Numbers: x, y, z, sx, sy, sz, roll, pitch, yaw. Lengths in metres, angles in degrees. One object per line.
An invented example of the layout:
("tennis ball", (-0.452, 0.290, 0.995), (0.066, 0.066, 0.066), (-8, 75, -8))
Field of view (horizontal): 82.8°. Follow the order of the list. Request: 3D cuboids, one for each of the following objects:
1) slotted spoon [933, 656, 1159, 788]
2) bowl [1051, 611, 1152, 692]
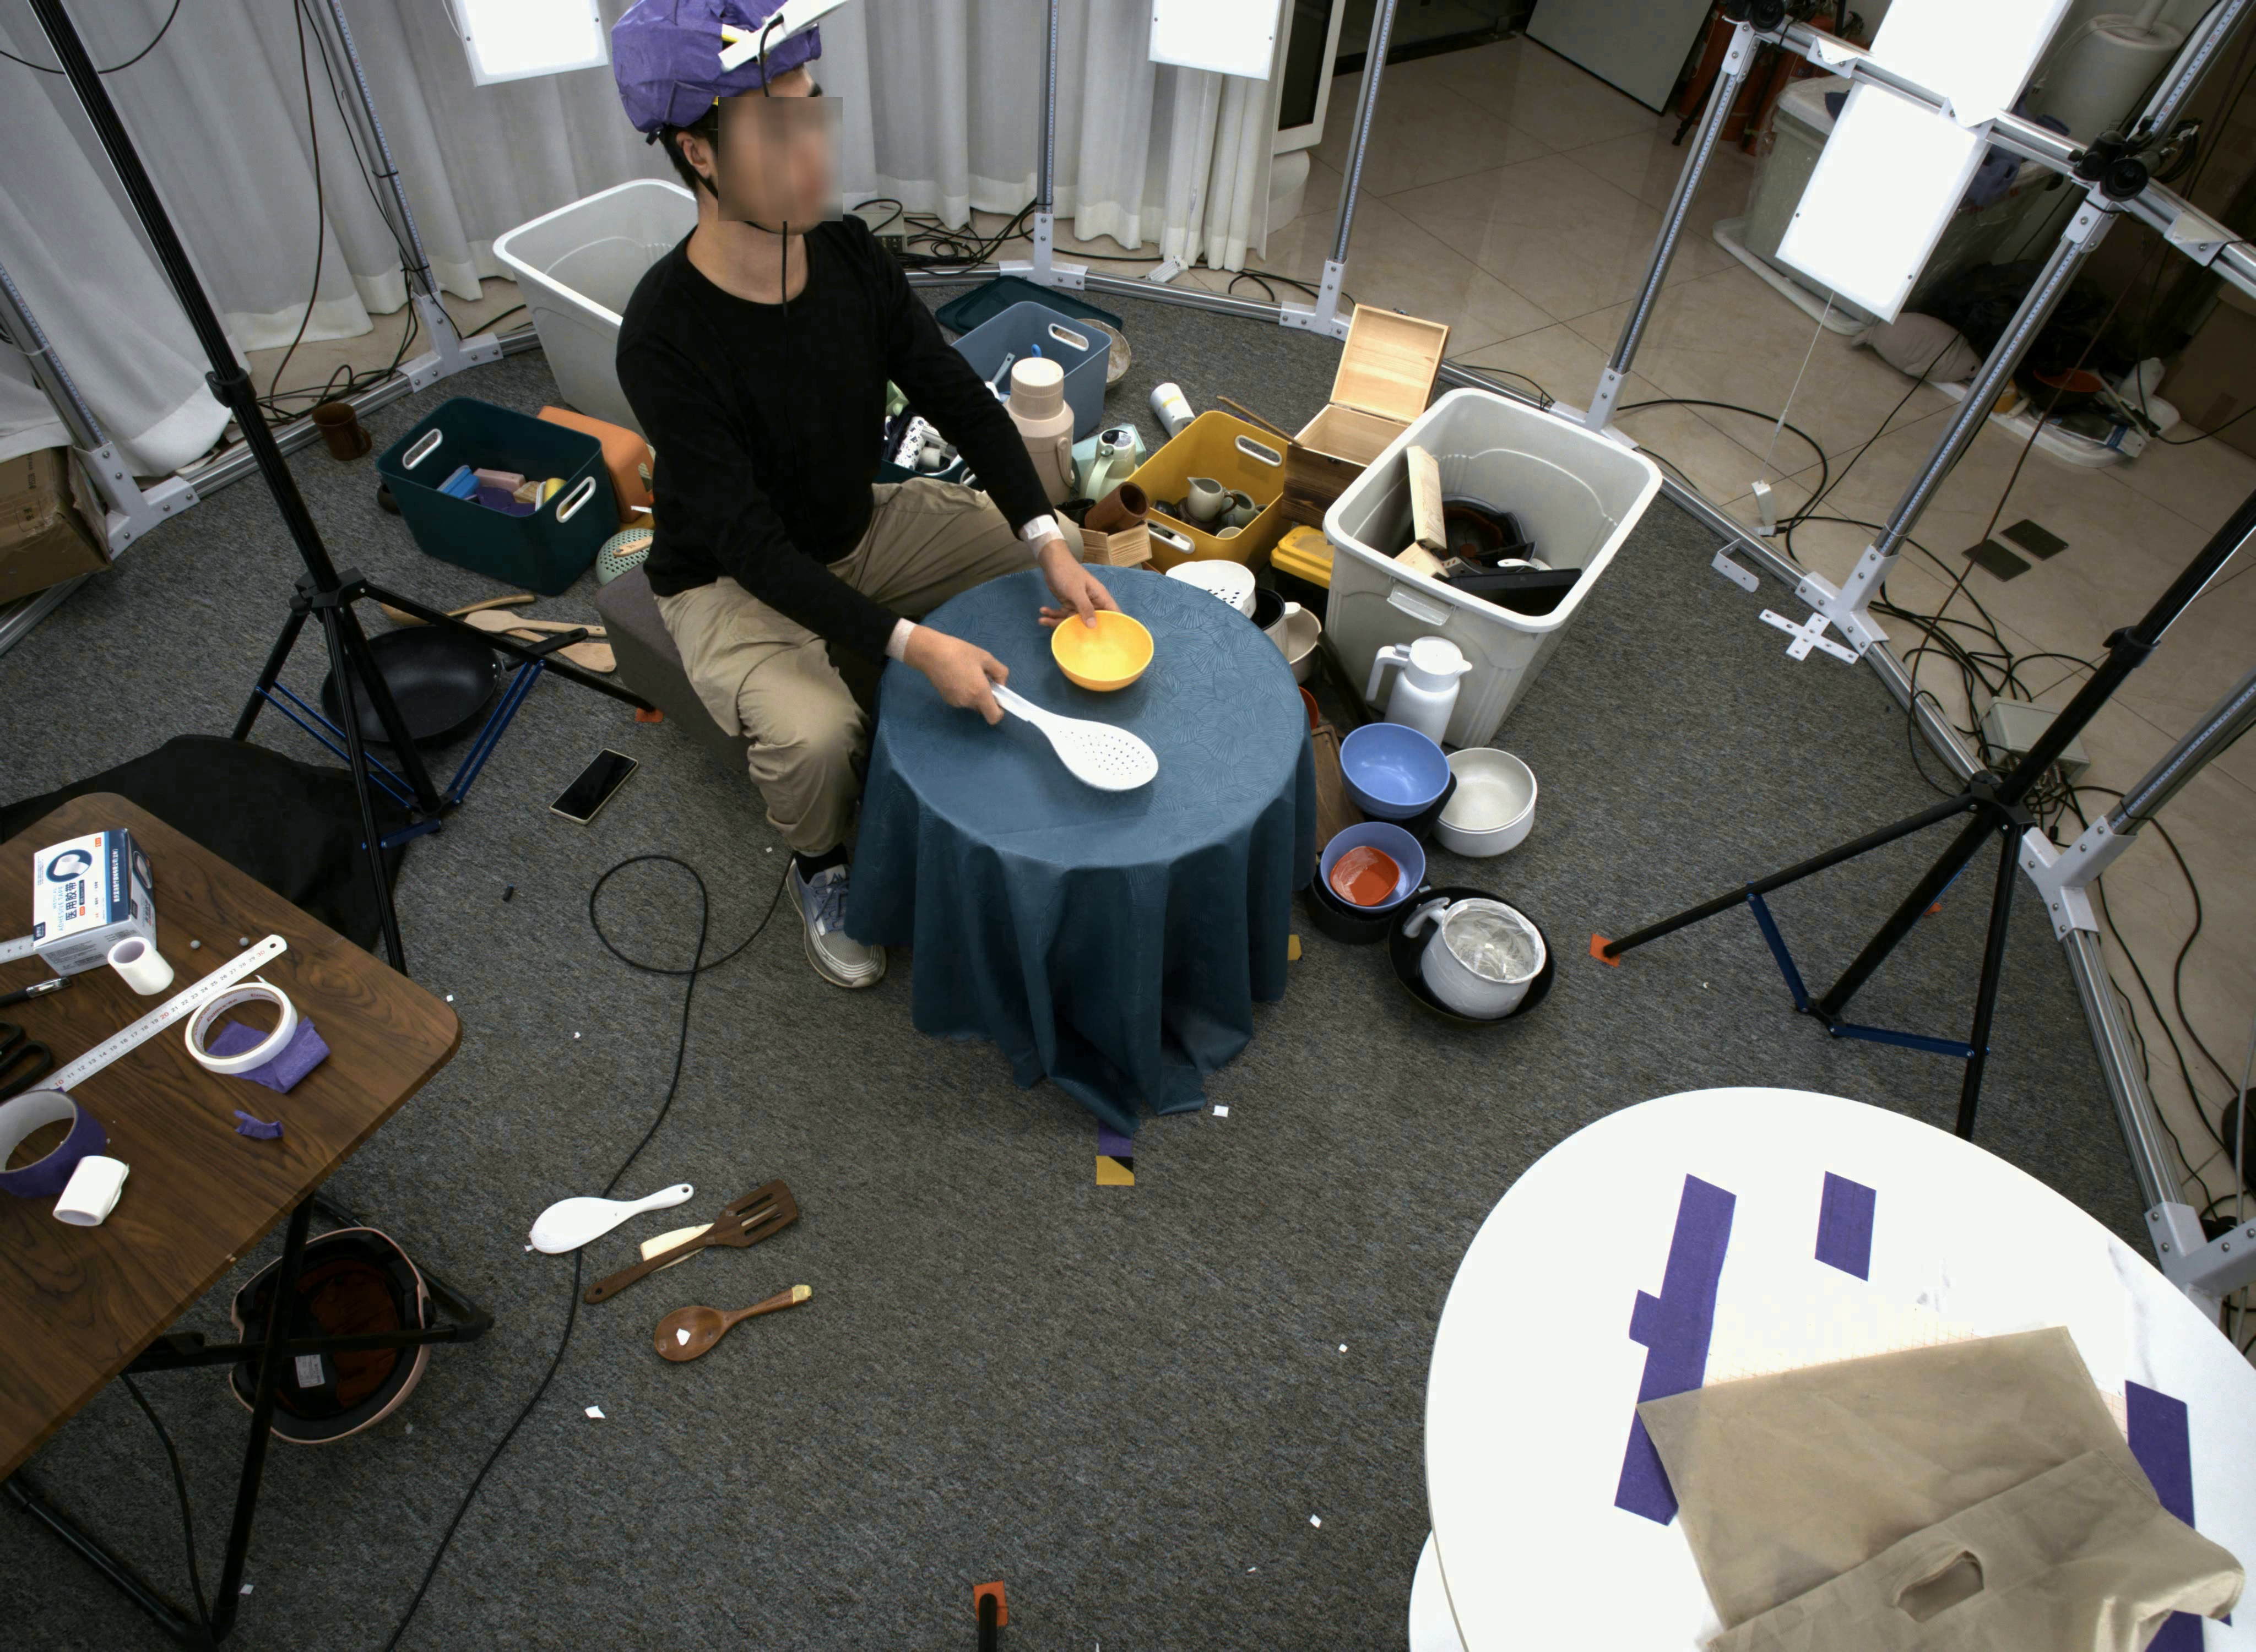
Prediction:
("slotted spoon", (-0.116, -0.143, 1.731), (0.352, 0.045, 0.137), (33, 35, 13))
("bowl", (-0.040, -0.238, 1.837), (0.145, 0.058, 0.149), (3, 49, -4))
